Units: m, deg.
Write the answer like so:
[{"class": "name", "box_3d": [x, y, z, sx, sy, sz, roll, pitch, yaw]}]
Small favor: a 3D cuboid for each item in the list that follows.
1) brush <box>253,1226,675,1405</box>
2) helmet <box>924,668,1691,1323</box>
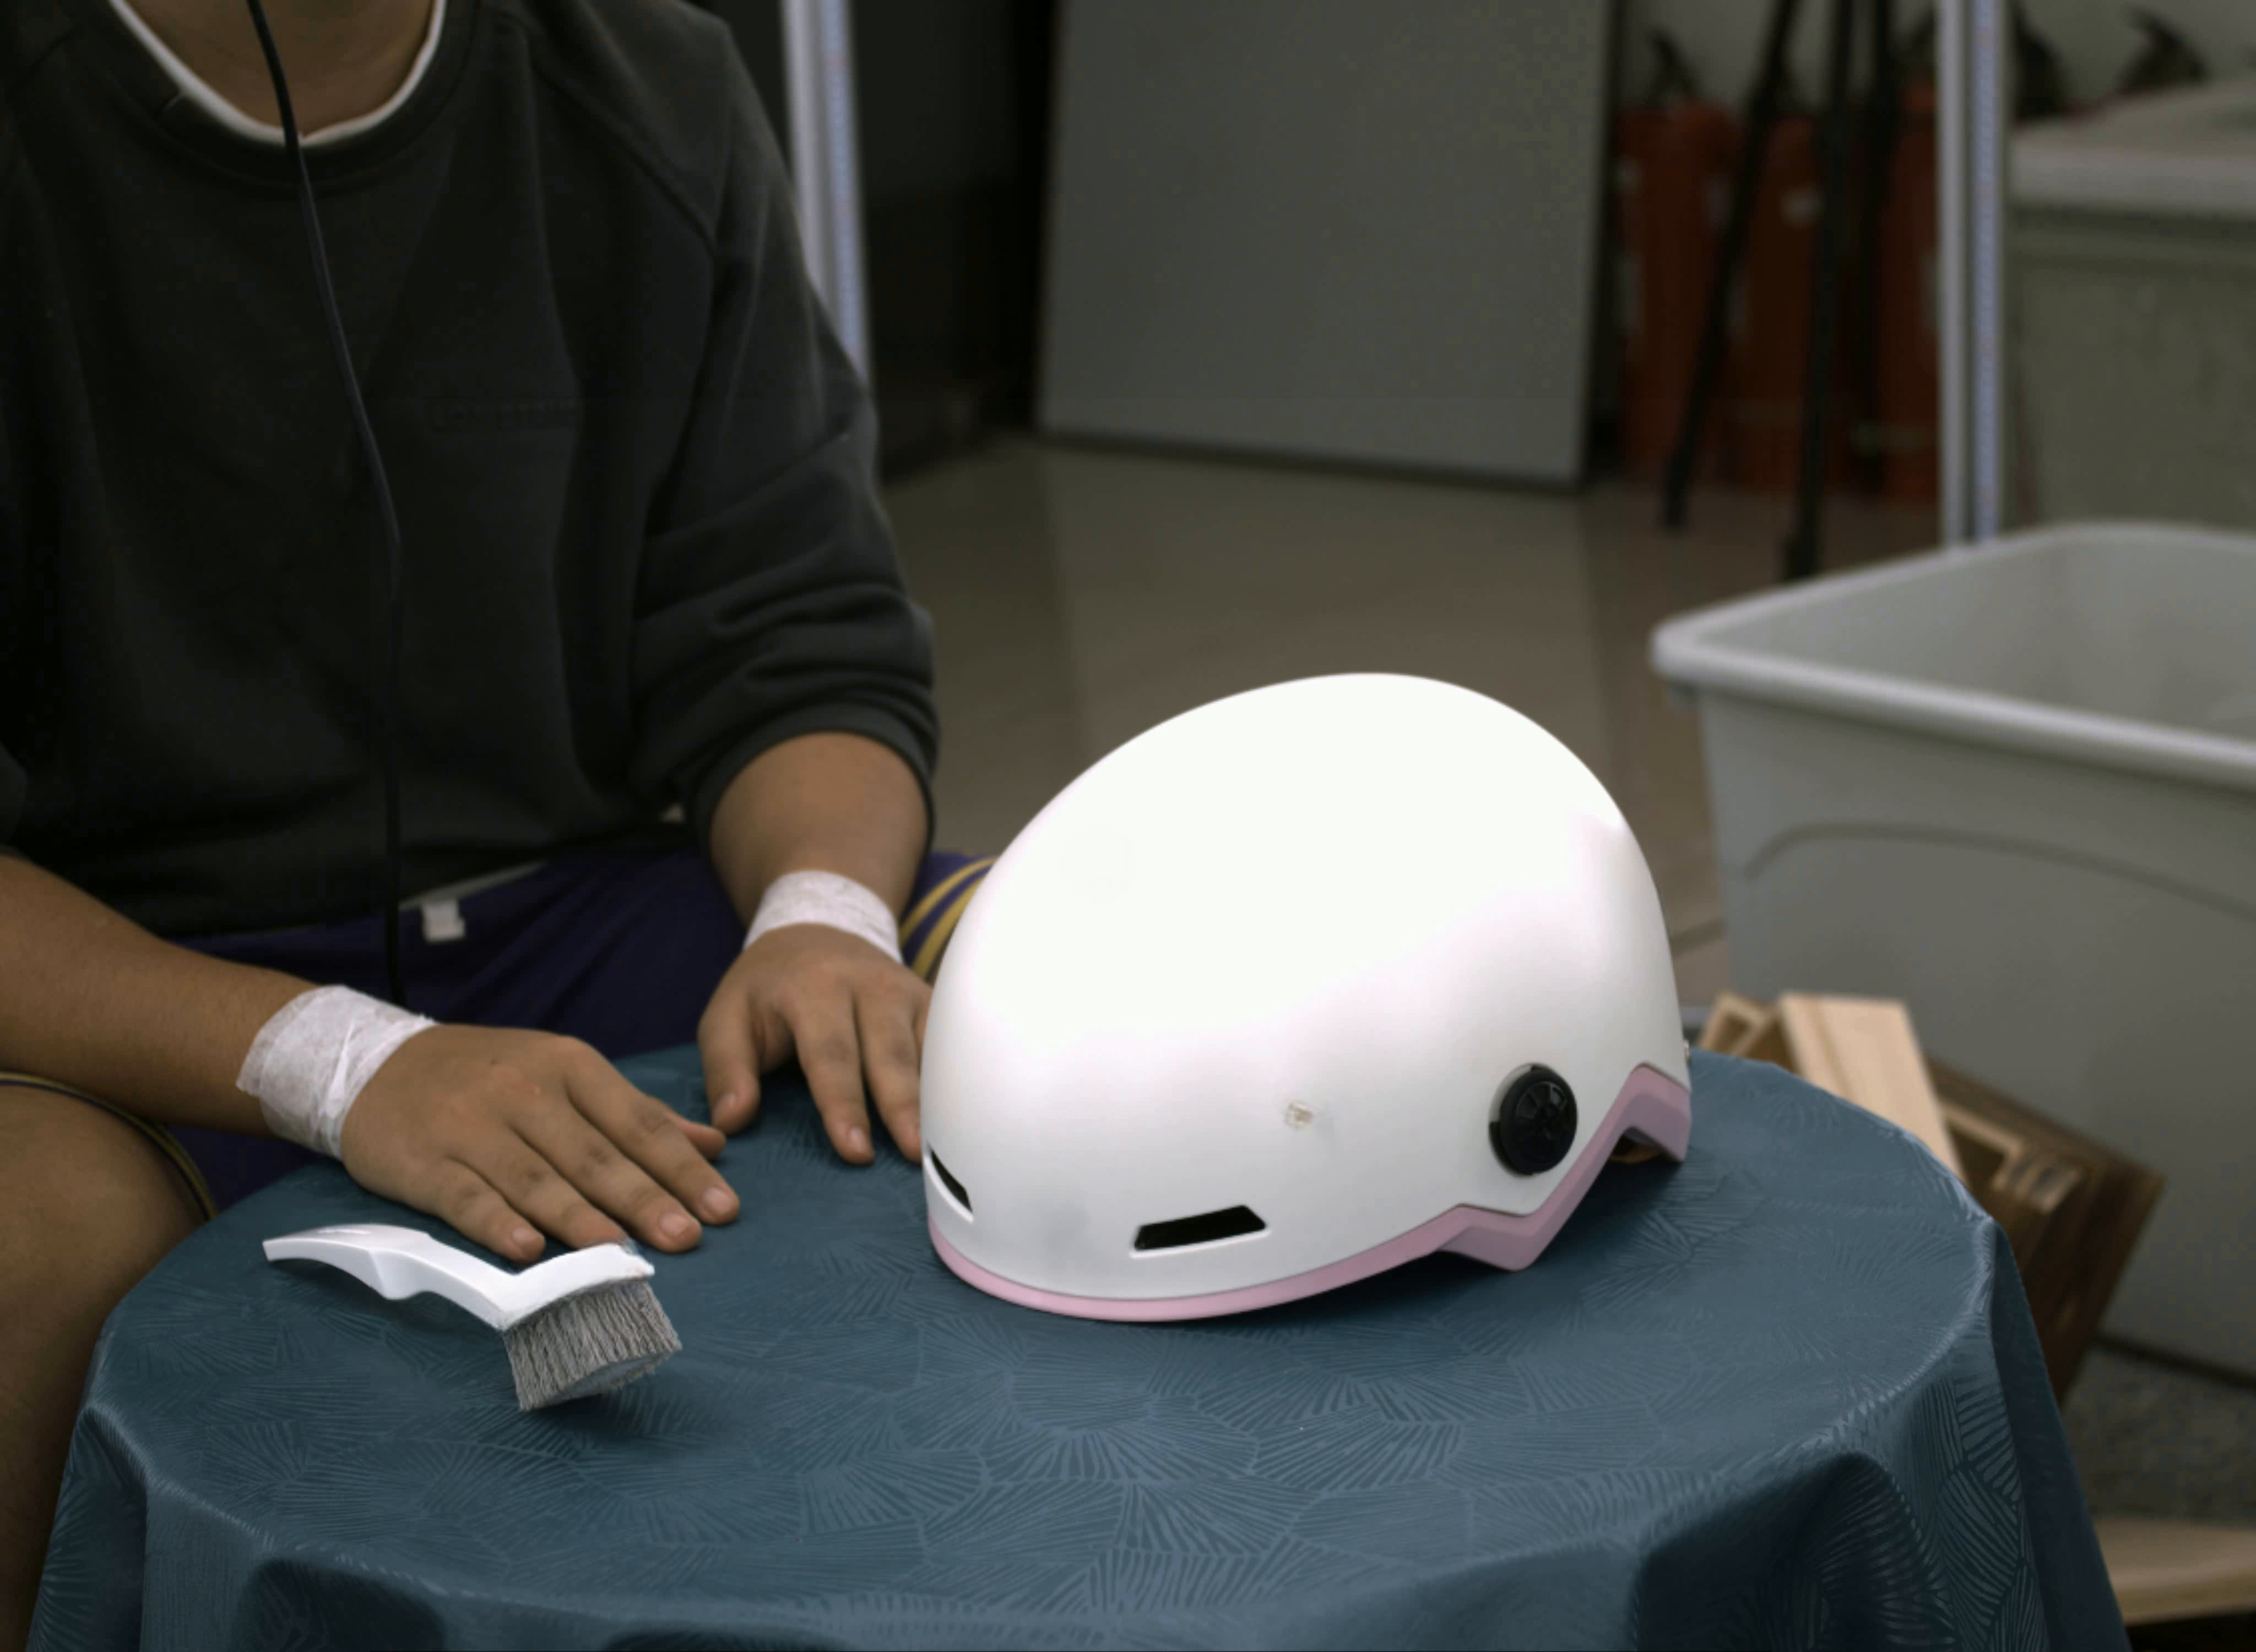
[{"class": "brush", "box_3d": [-0.207, 0.151, 1.660, 0.033, 0.051, 0.246, -13, 3, -33]}, {"class": "helmet", "box_3d": [0.055, 0.042, 1.732, 0.239, 0.169, 0.263, 9, 19, 42]}]
